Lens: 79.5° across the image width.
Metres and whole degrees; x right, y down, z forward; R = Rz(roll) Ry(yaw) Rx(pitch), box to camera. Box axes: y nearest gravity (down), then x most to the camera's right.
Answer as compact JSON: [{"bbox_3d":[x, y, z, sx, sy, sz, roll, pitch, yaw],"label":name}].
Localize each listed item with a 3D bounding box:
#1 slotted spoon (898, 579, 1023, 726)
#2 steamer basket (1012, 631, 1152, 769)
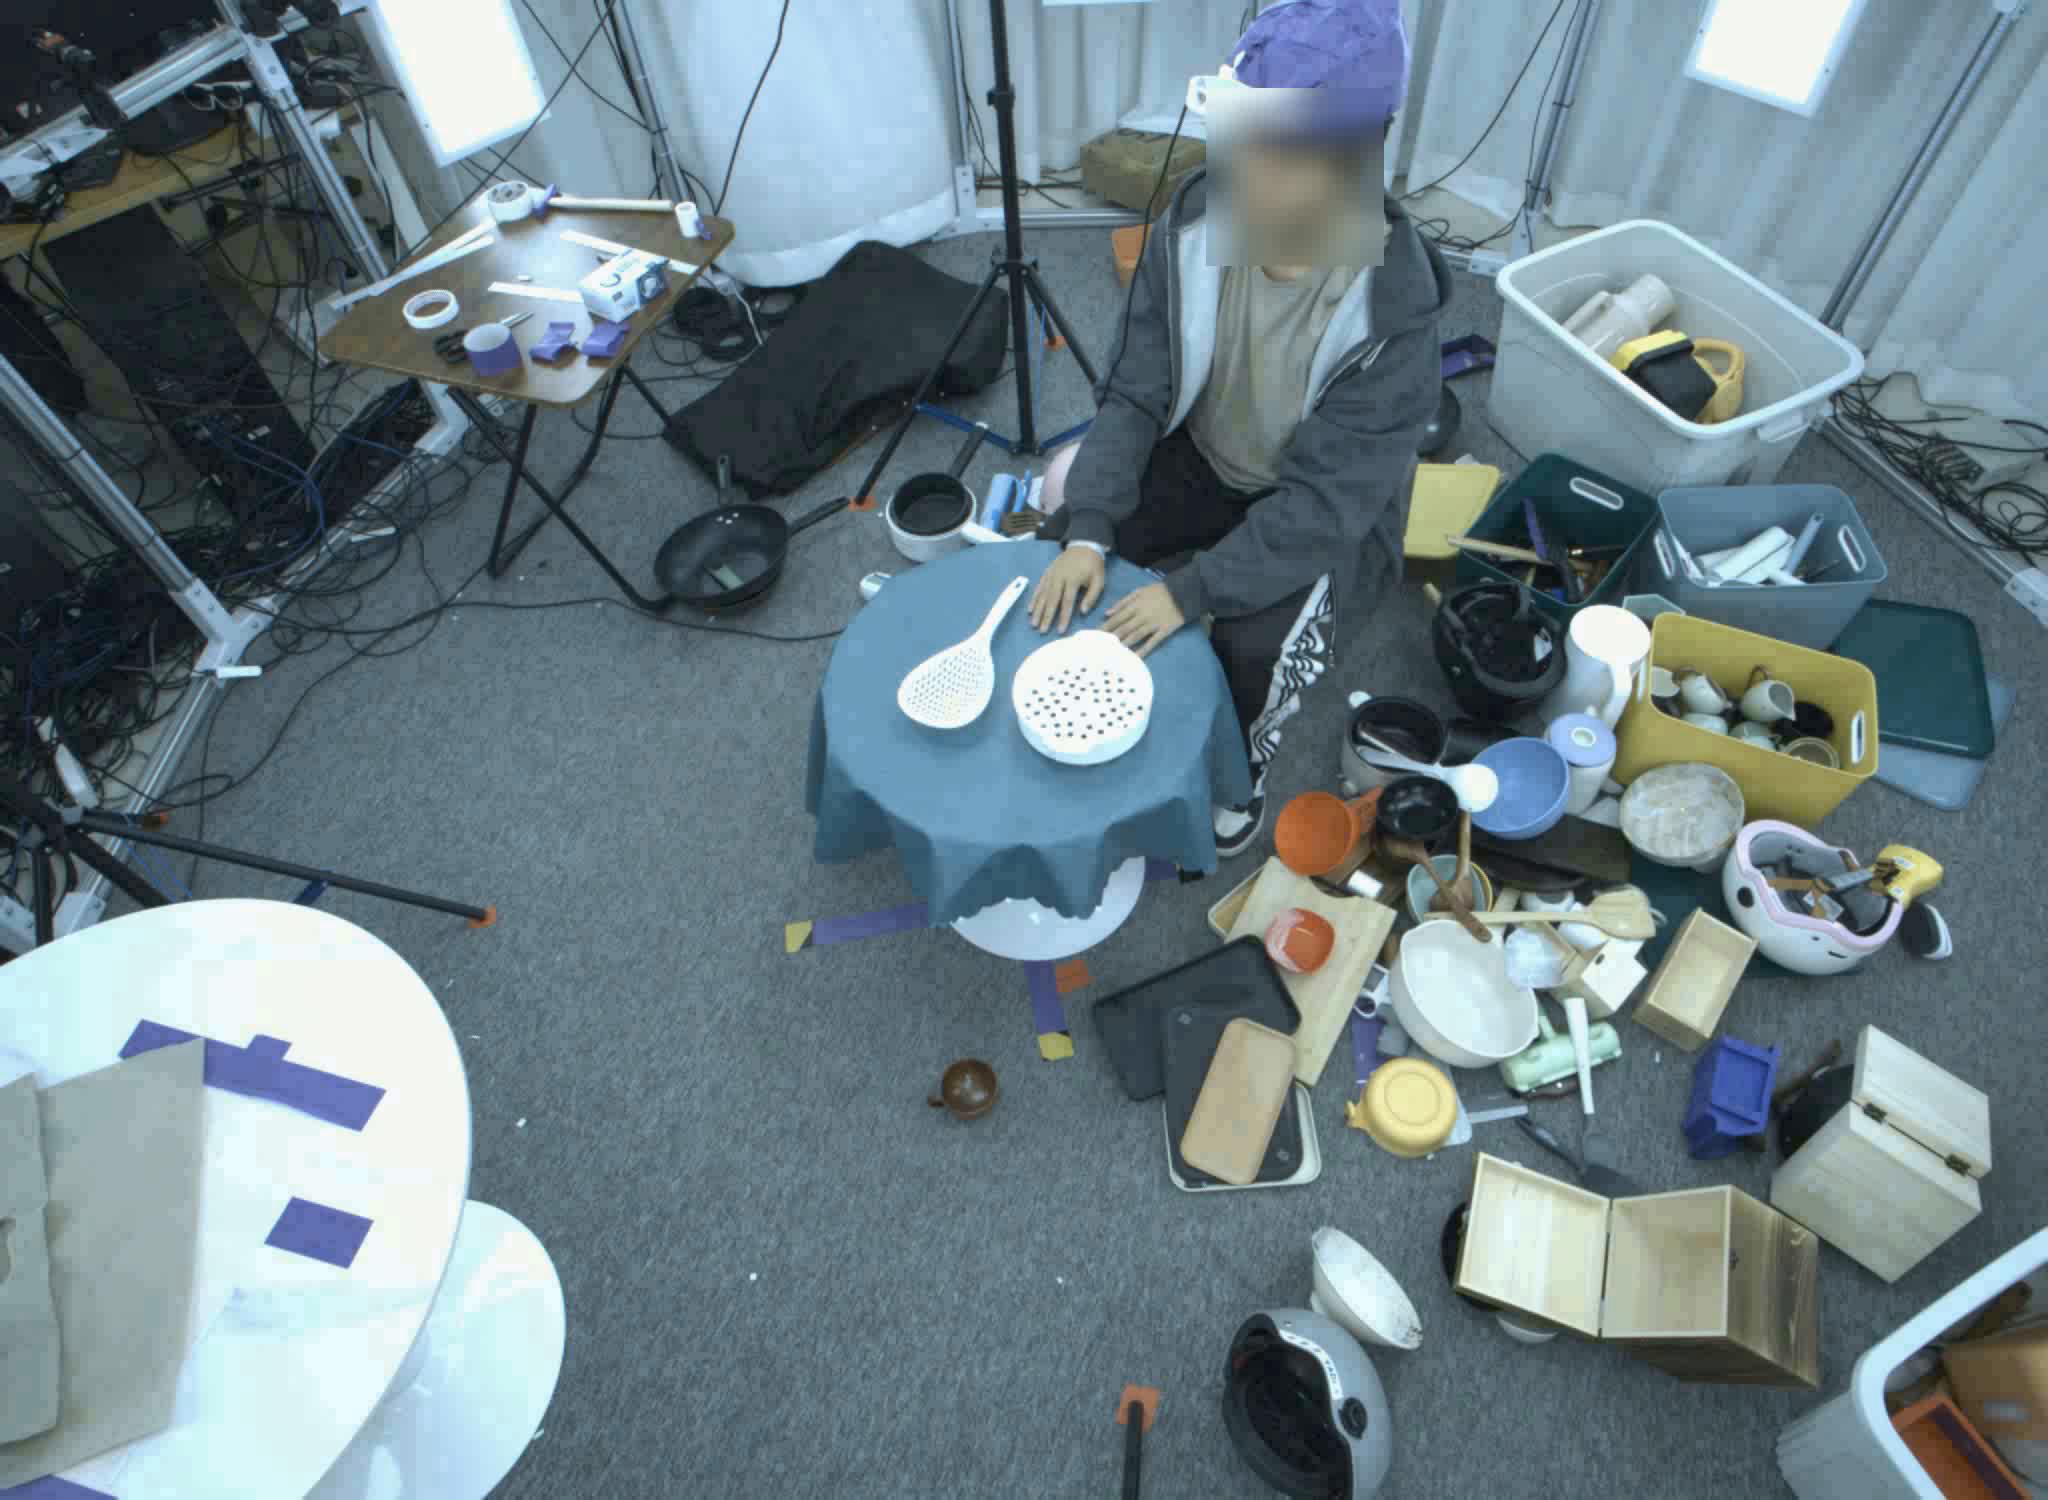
[{"bbox_3d":[-0.070,-0.158,1.880,0.135,0.051,0.348,16,56,17],"label":"slotted spoon"},{"bbox_3d":[0.085,-0.067,1.792,0.200,0.070,0.229,10,58,9],"label":"steamer basket"}]
